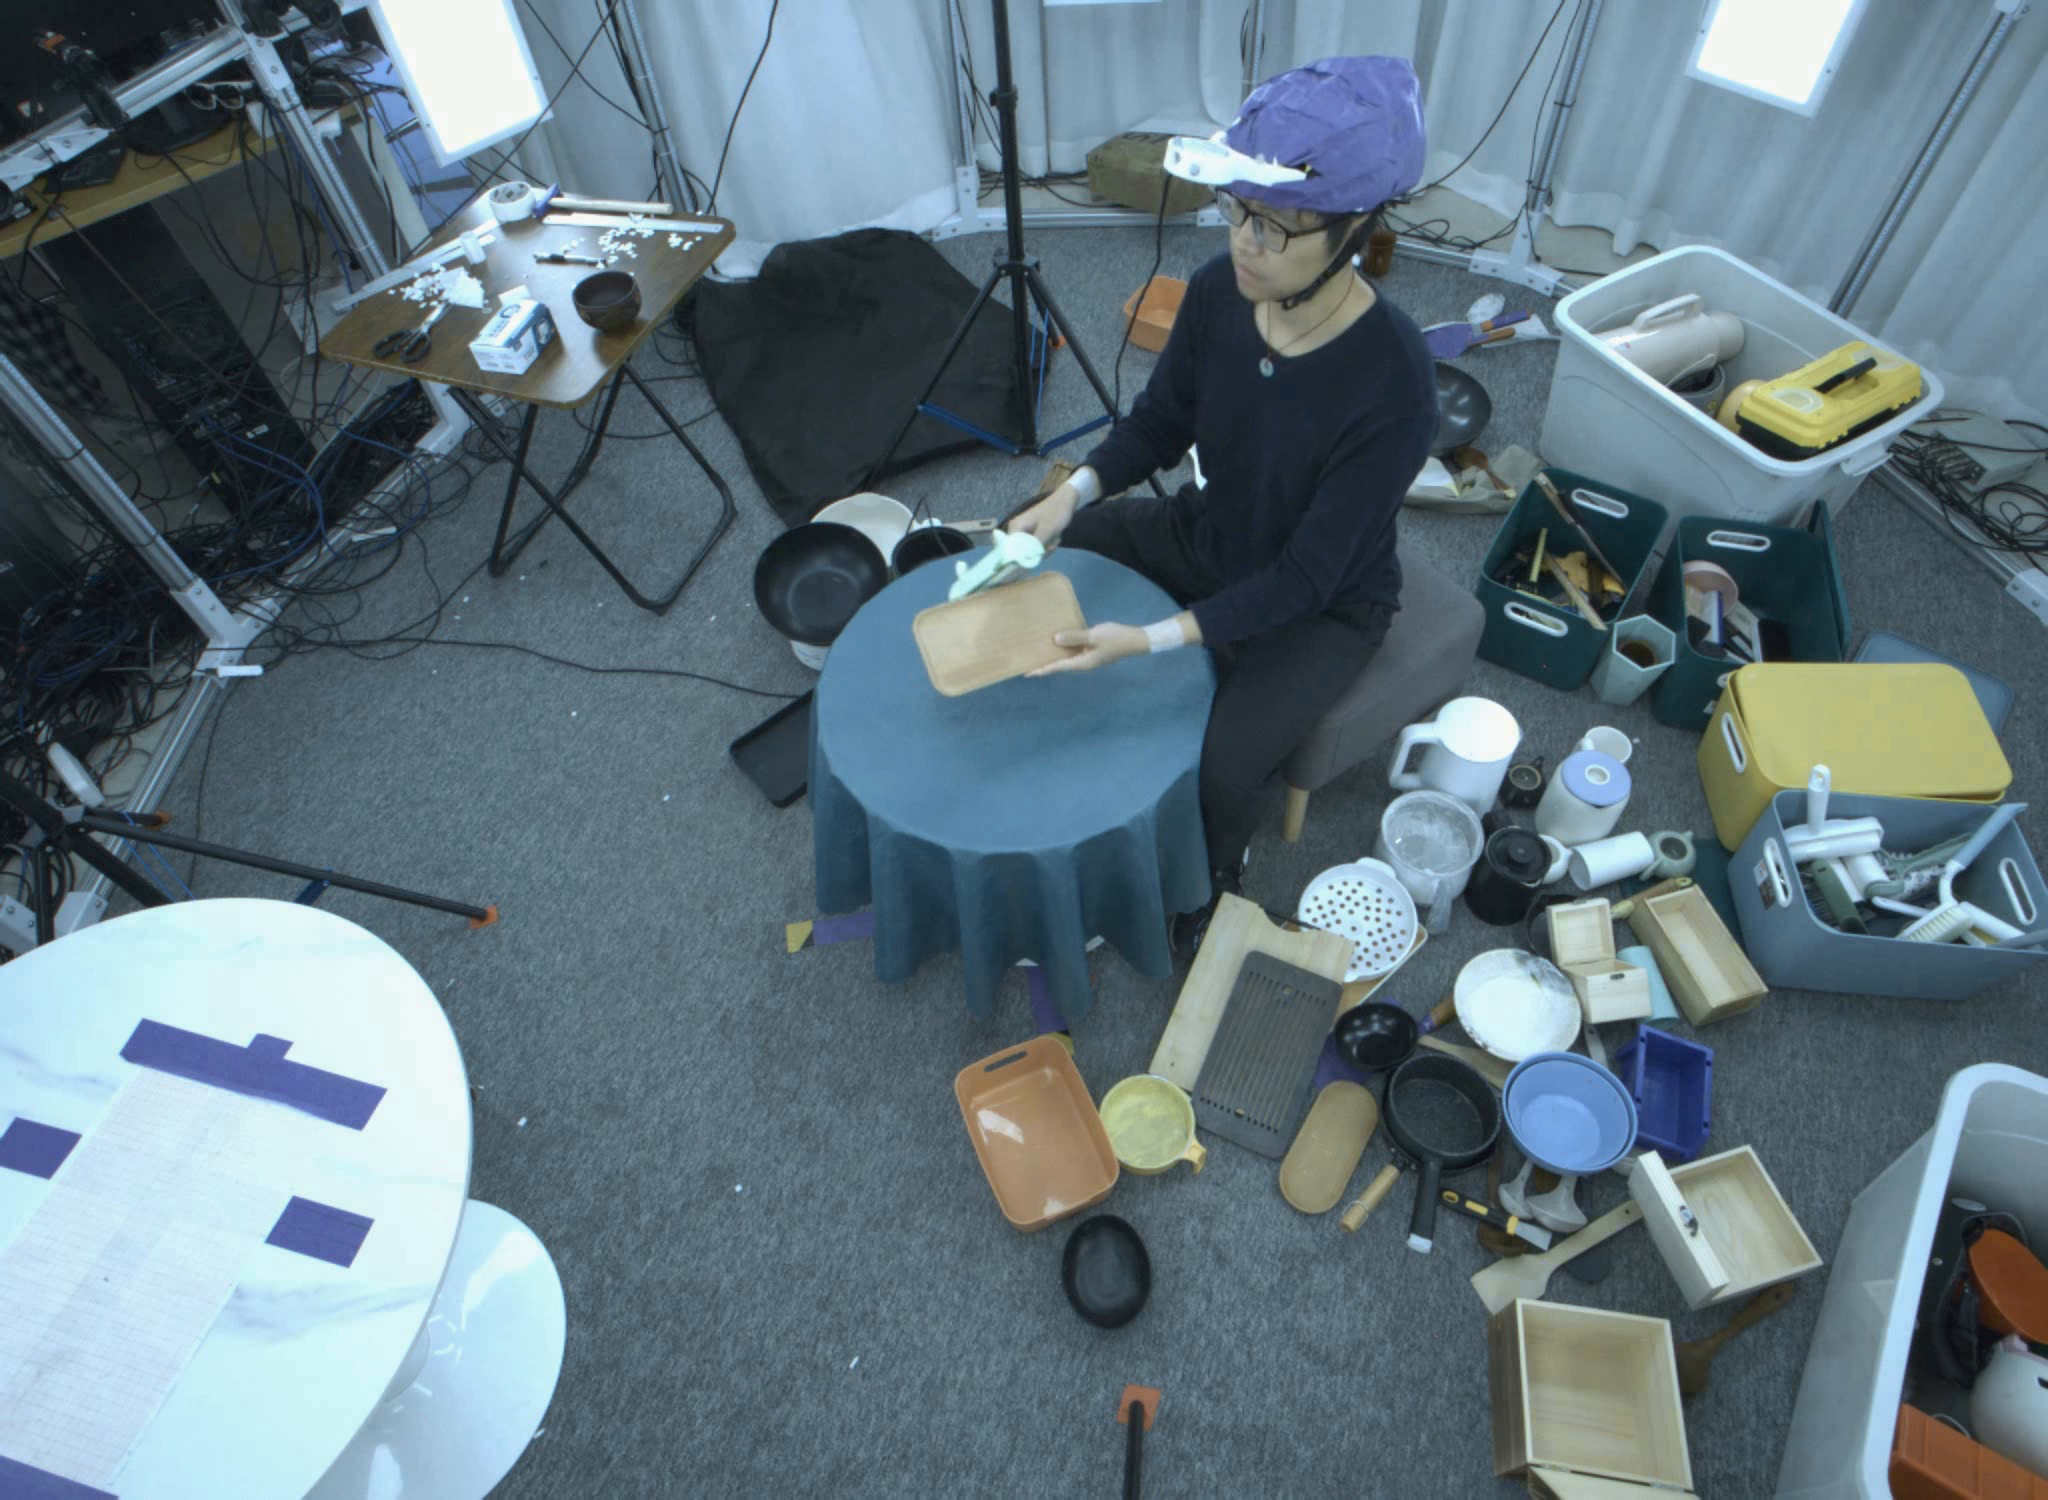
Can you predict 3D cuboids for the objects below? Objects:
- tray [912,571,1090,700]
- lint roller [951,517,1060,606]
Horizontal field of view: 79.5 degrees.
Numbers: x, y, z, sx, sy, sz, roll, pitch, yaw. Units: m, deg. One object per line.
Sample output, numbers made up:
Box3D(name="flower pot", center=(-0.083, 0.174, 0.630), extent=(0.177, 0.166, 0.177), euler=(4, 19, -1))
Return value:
Box3D(name="tray", center=(-0.031, -0.161, 1.712), extent=(0.254, 0.022, 0.131), euler=(-21, 96, -24))
Box3D(name="lint roller", center=(-0.019, -0.295, 1.768), extent=(0.083, 0.196, 0.183), euler=(41, 59, -14))
